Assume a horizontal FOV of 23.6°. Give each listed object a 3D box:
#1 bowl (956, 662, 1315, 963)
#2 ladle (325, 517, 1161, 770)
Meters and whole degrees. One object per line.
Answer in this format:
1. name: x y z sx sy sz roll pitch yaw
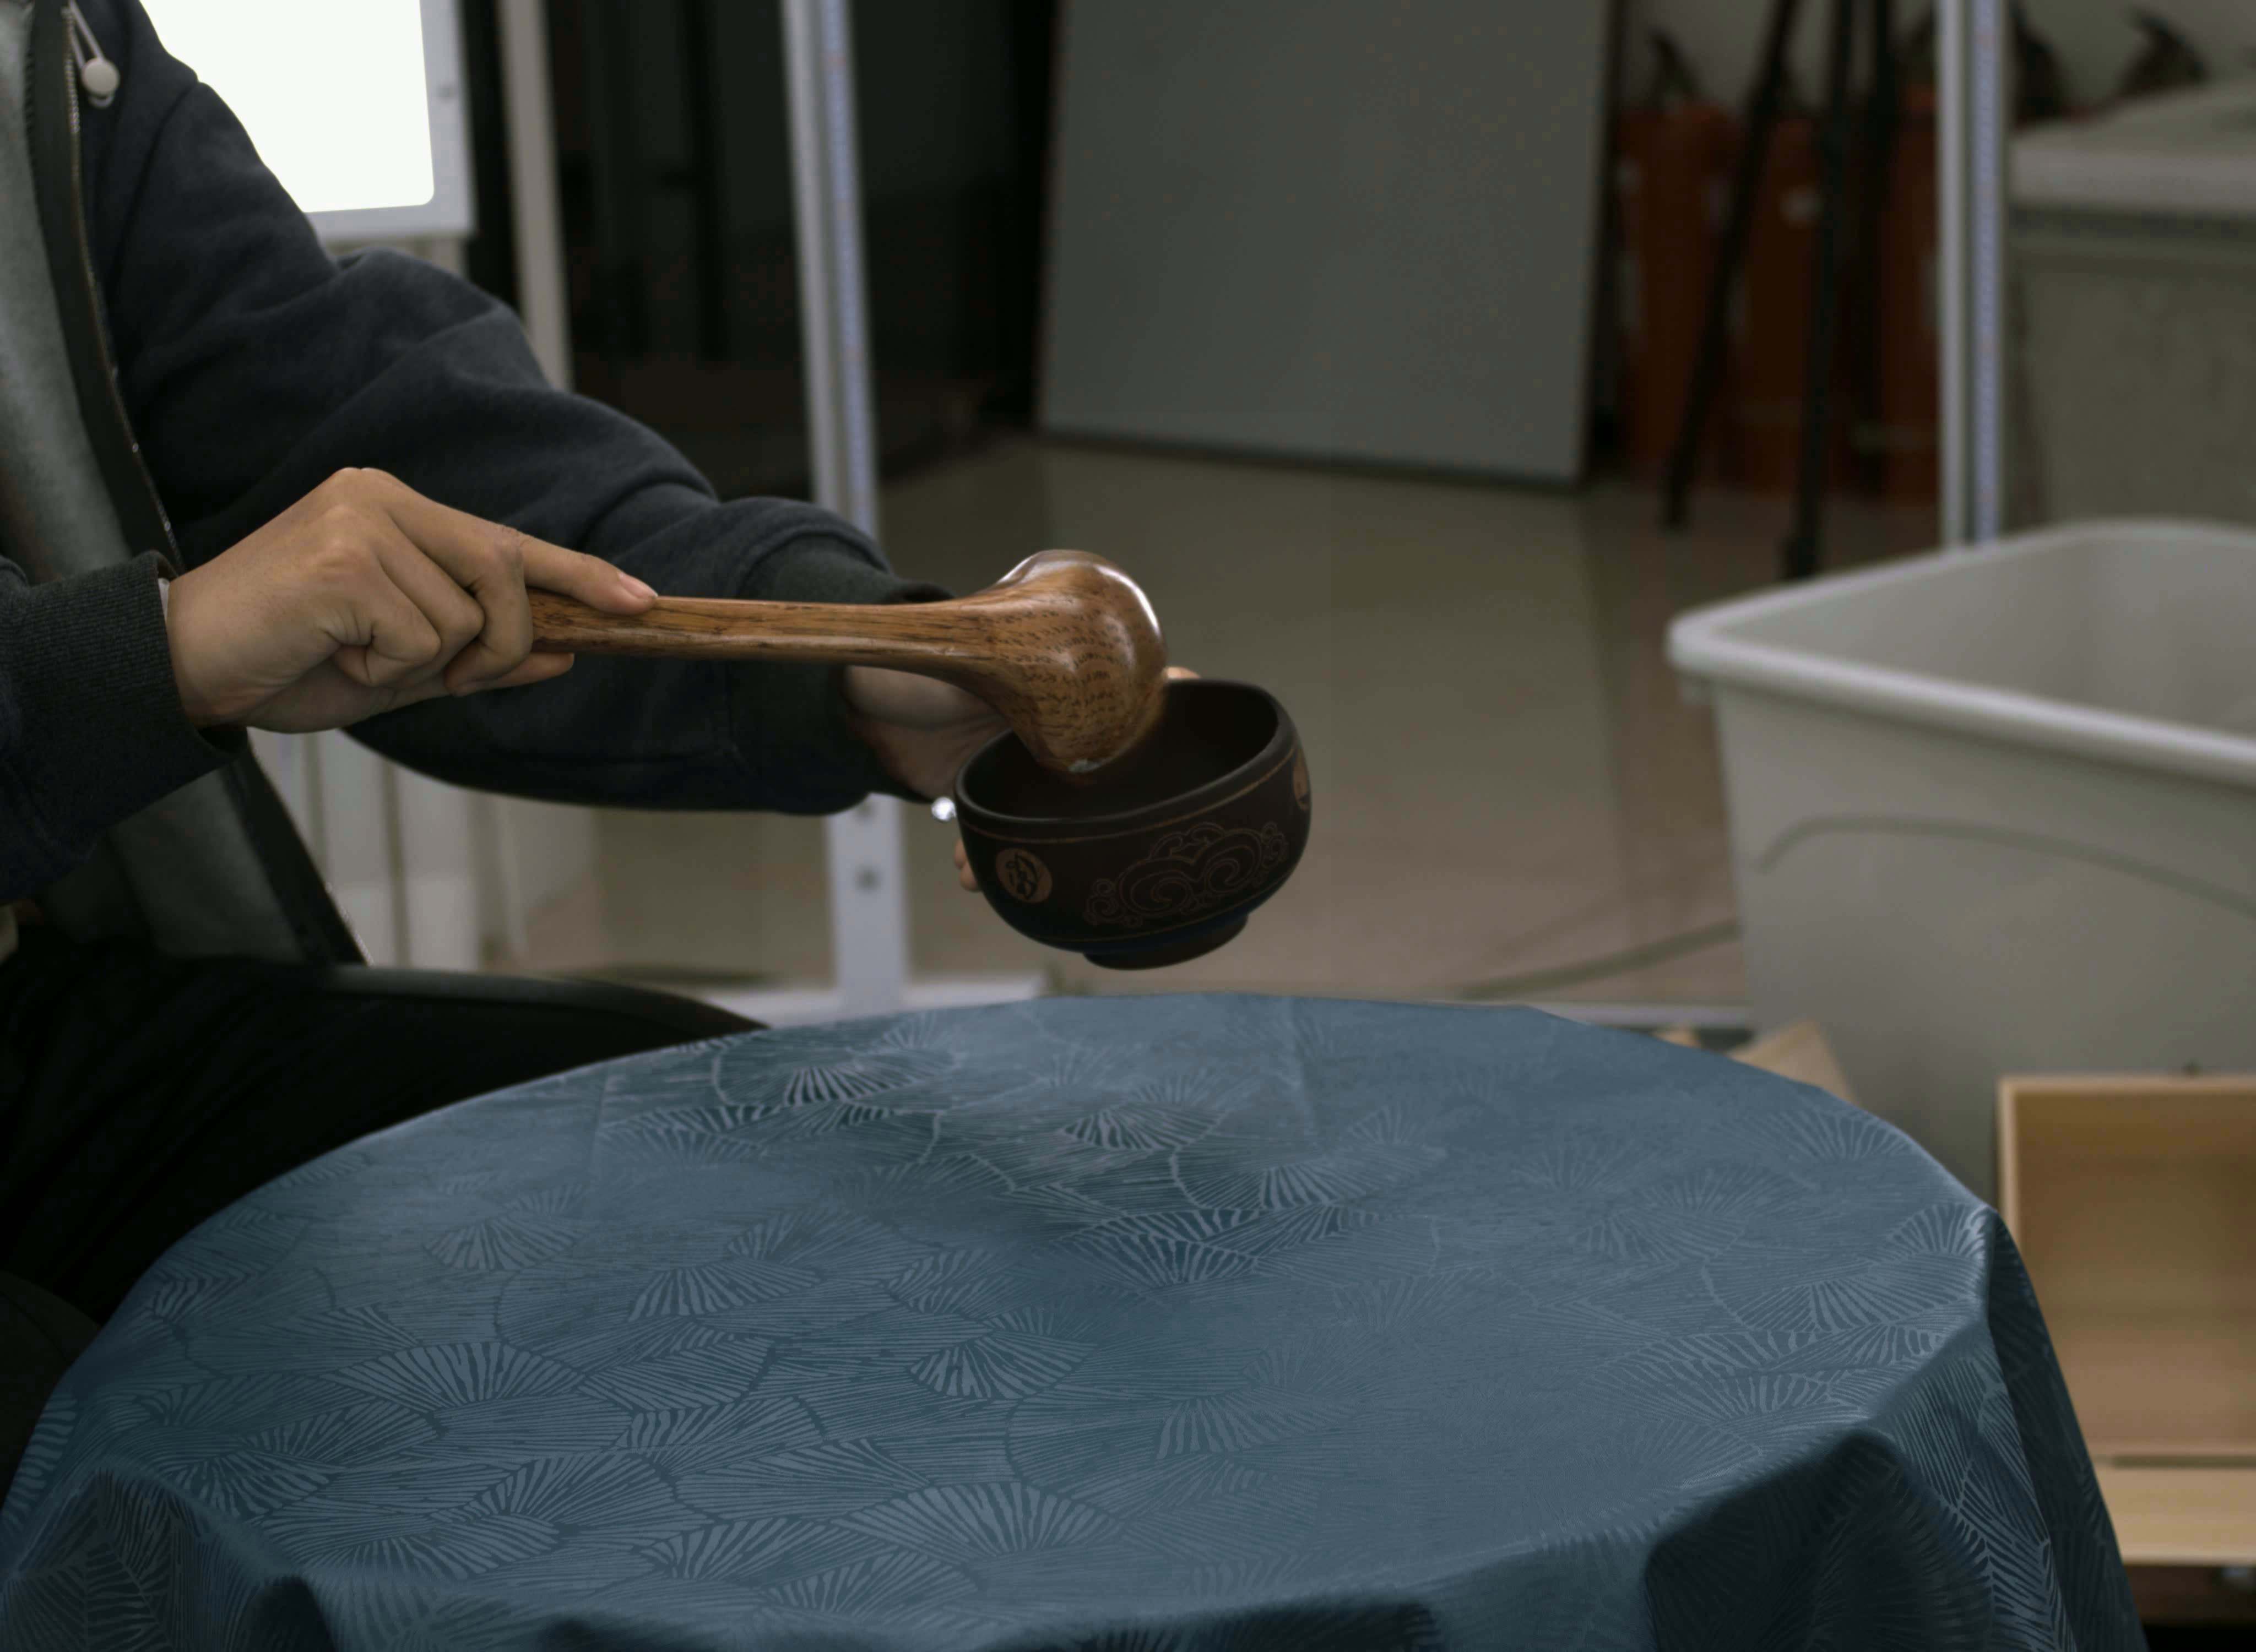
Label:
1. bowl: 0.006 0.002 1.777 0.117 0.070 0.118 -14 22 4
2. ladle: -0.120 -0.061 1.728 0.269 0.083 0.077 0 -17 -9
